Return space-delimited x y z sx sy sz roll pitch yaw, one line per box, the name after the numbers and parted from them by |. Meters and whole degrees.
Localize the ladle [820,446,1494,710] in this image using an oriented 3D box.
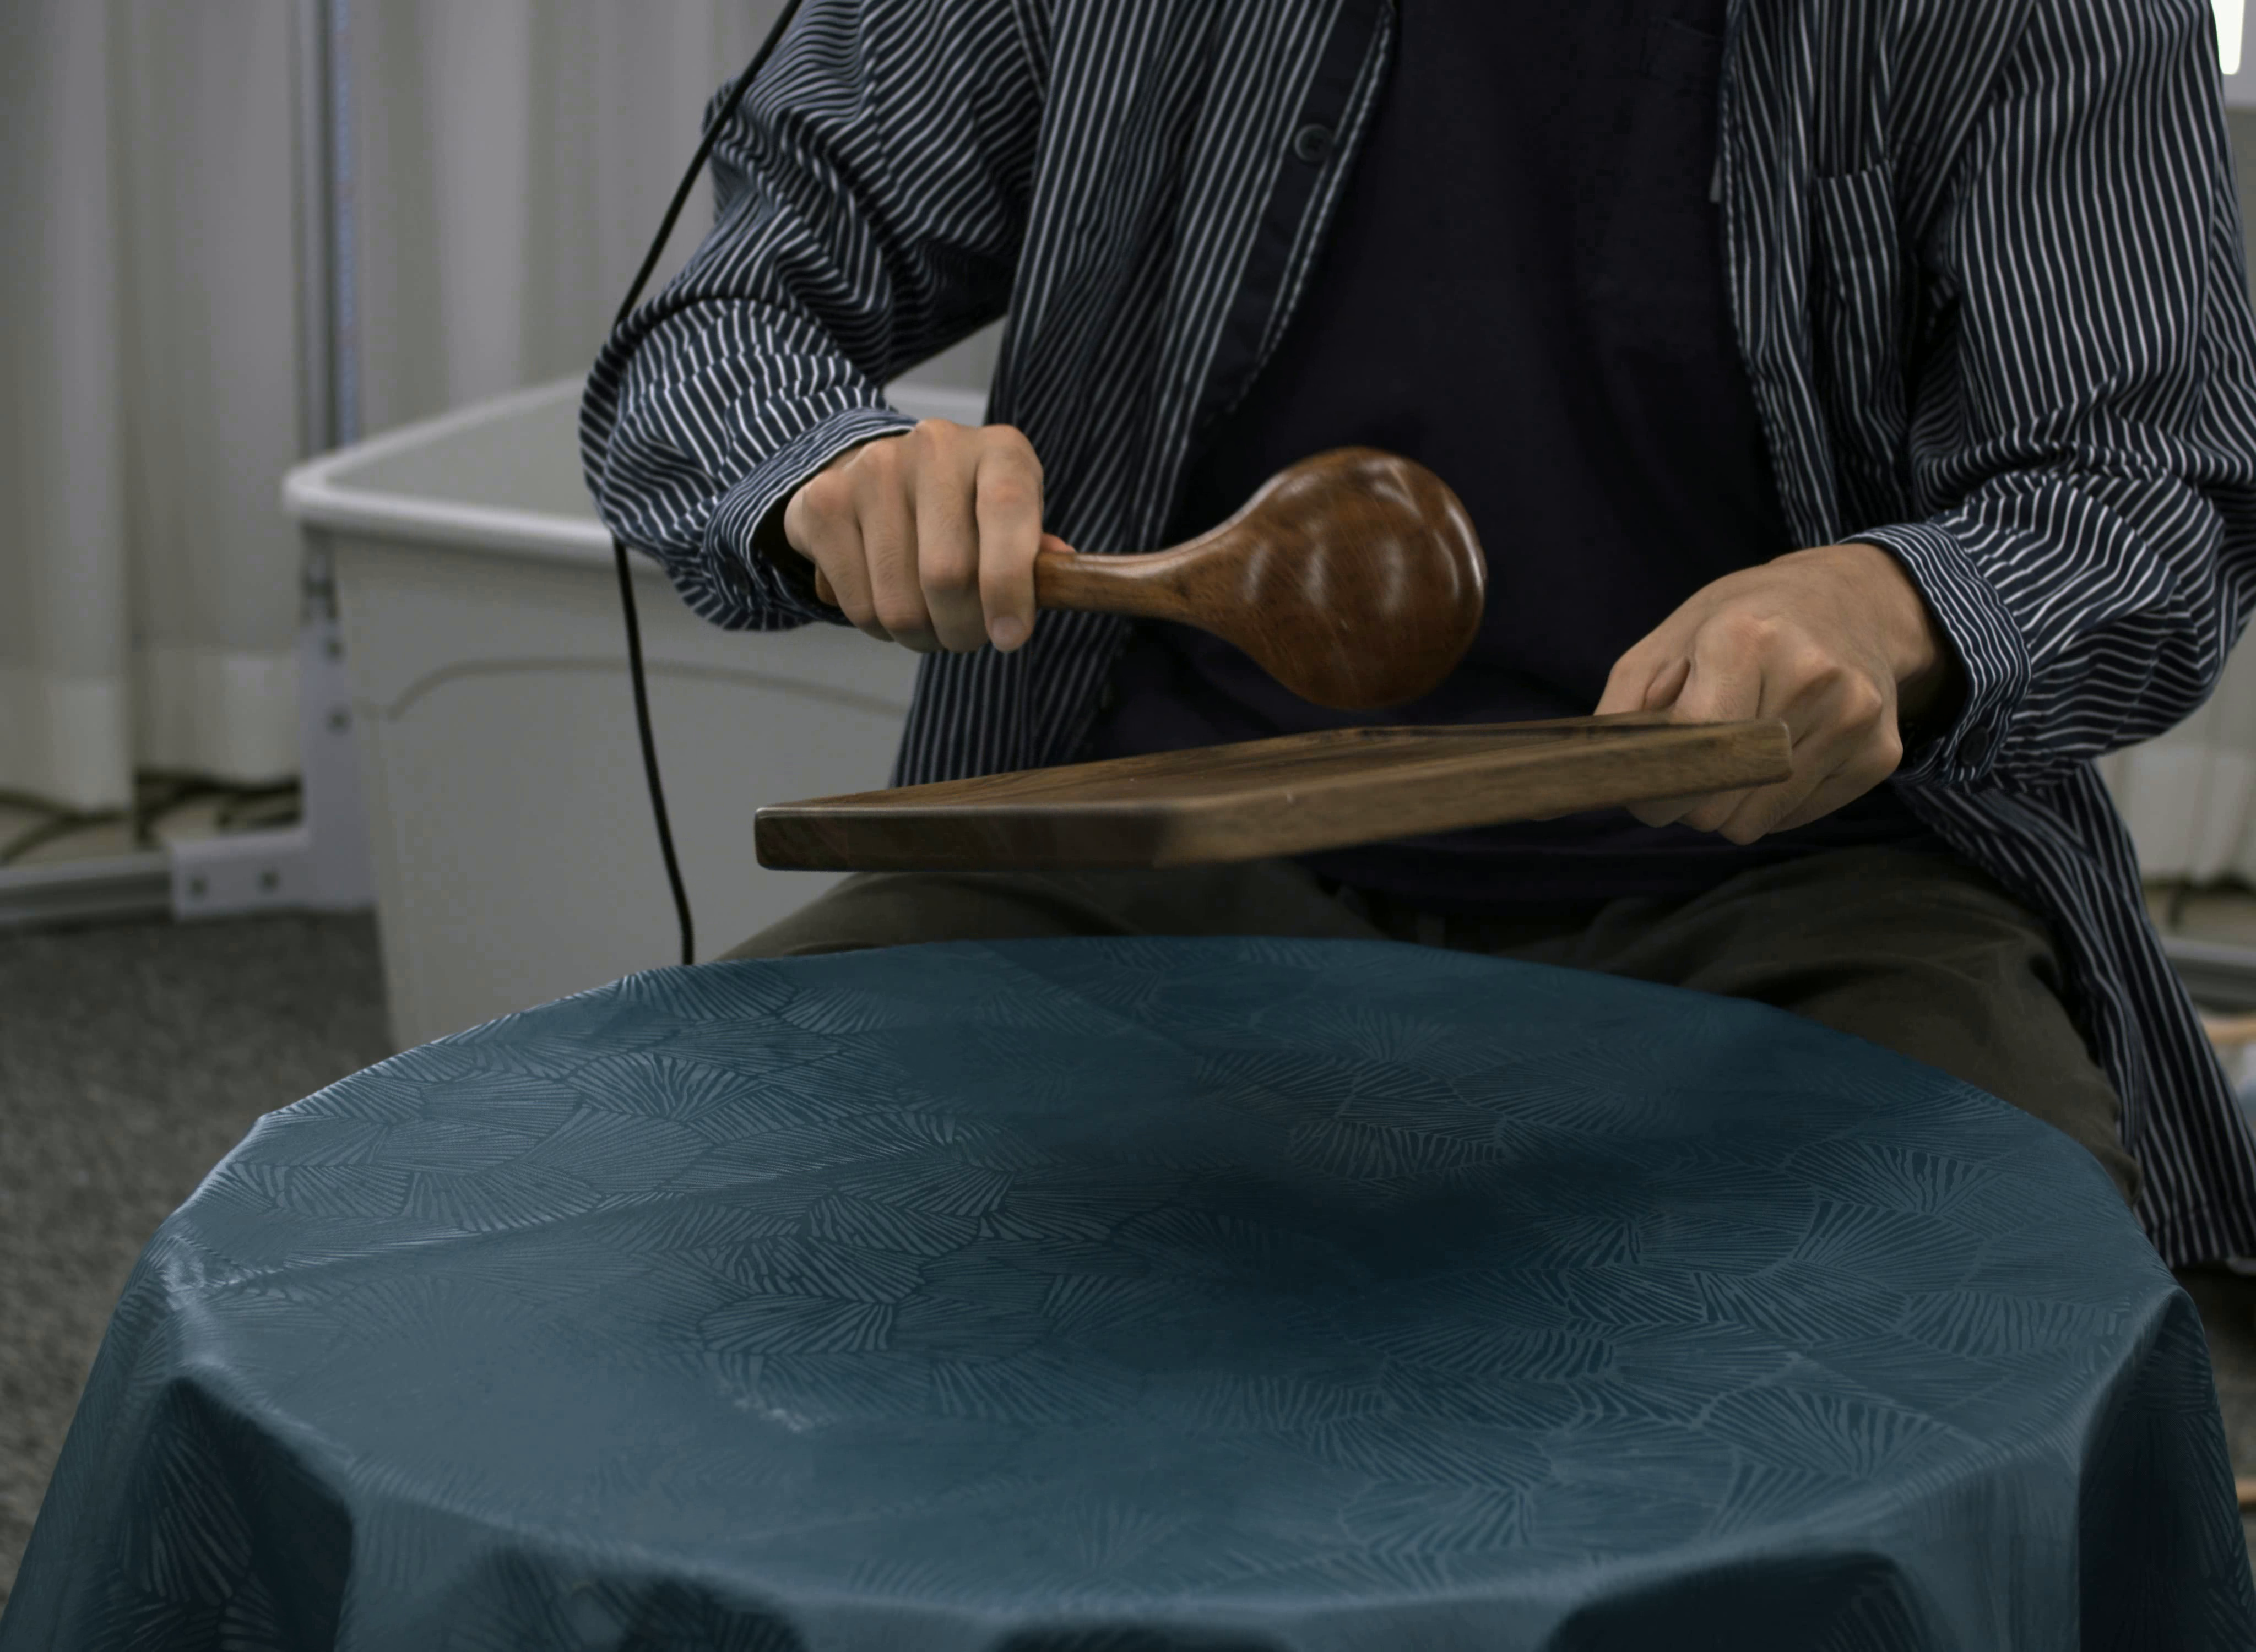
0.008 -0.081 1.712 0.077 0.082 0.271 1 1 -38 | ladle

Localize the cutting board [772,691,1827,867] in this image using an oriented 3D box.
0.087 -0.016 1.582 0.354 0.023 0.199 -7 4 -41 | cutting board
